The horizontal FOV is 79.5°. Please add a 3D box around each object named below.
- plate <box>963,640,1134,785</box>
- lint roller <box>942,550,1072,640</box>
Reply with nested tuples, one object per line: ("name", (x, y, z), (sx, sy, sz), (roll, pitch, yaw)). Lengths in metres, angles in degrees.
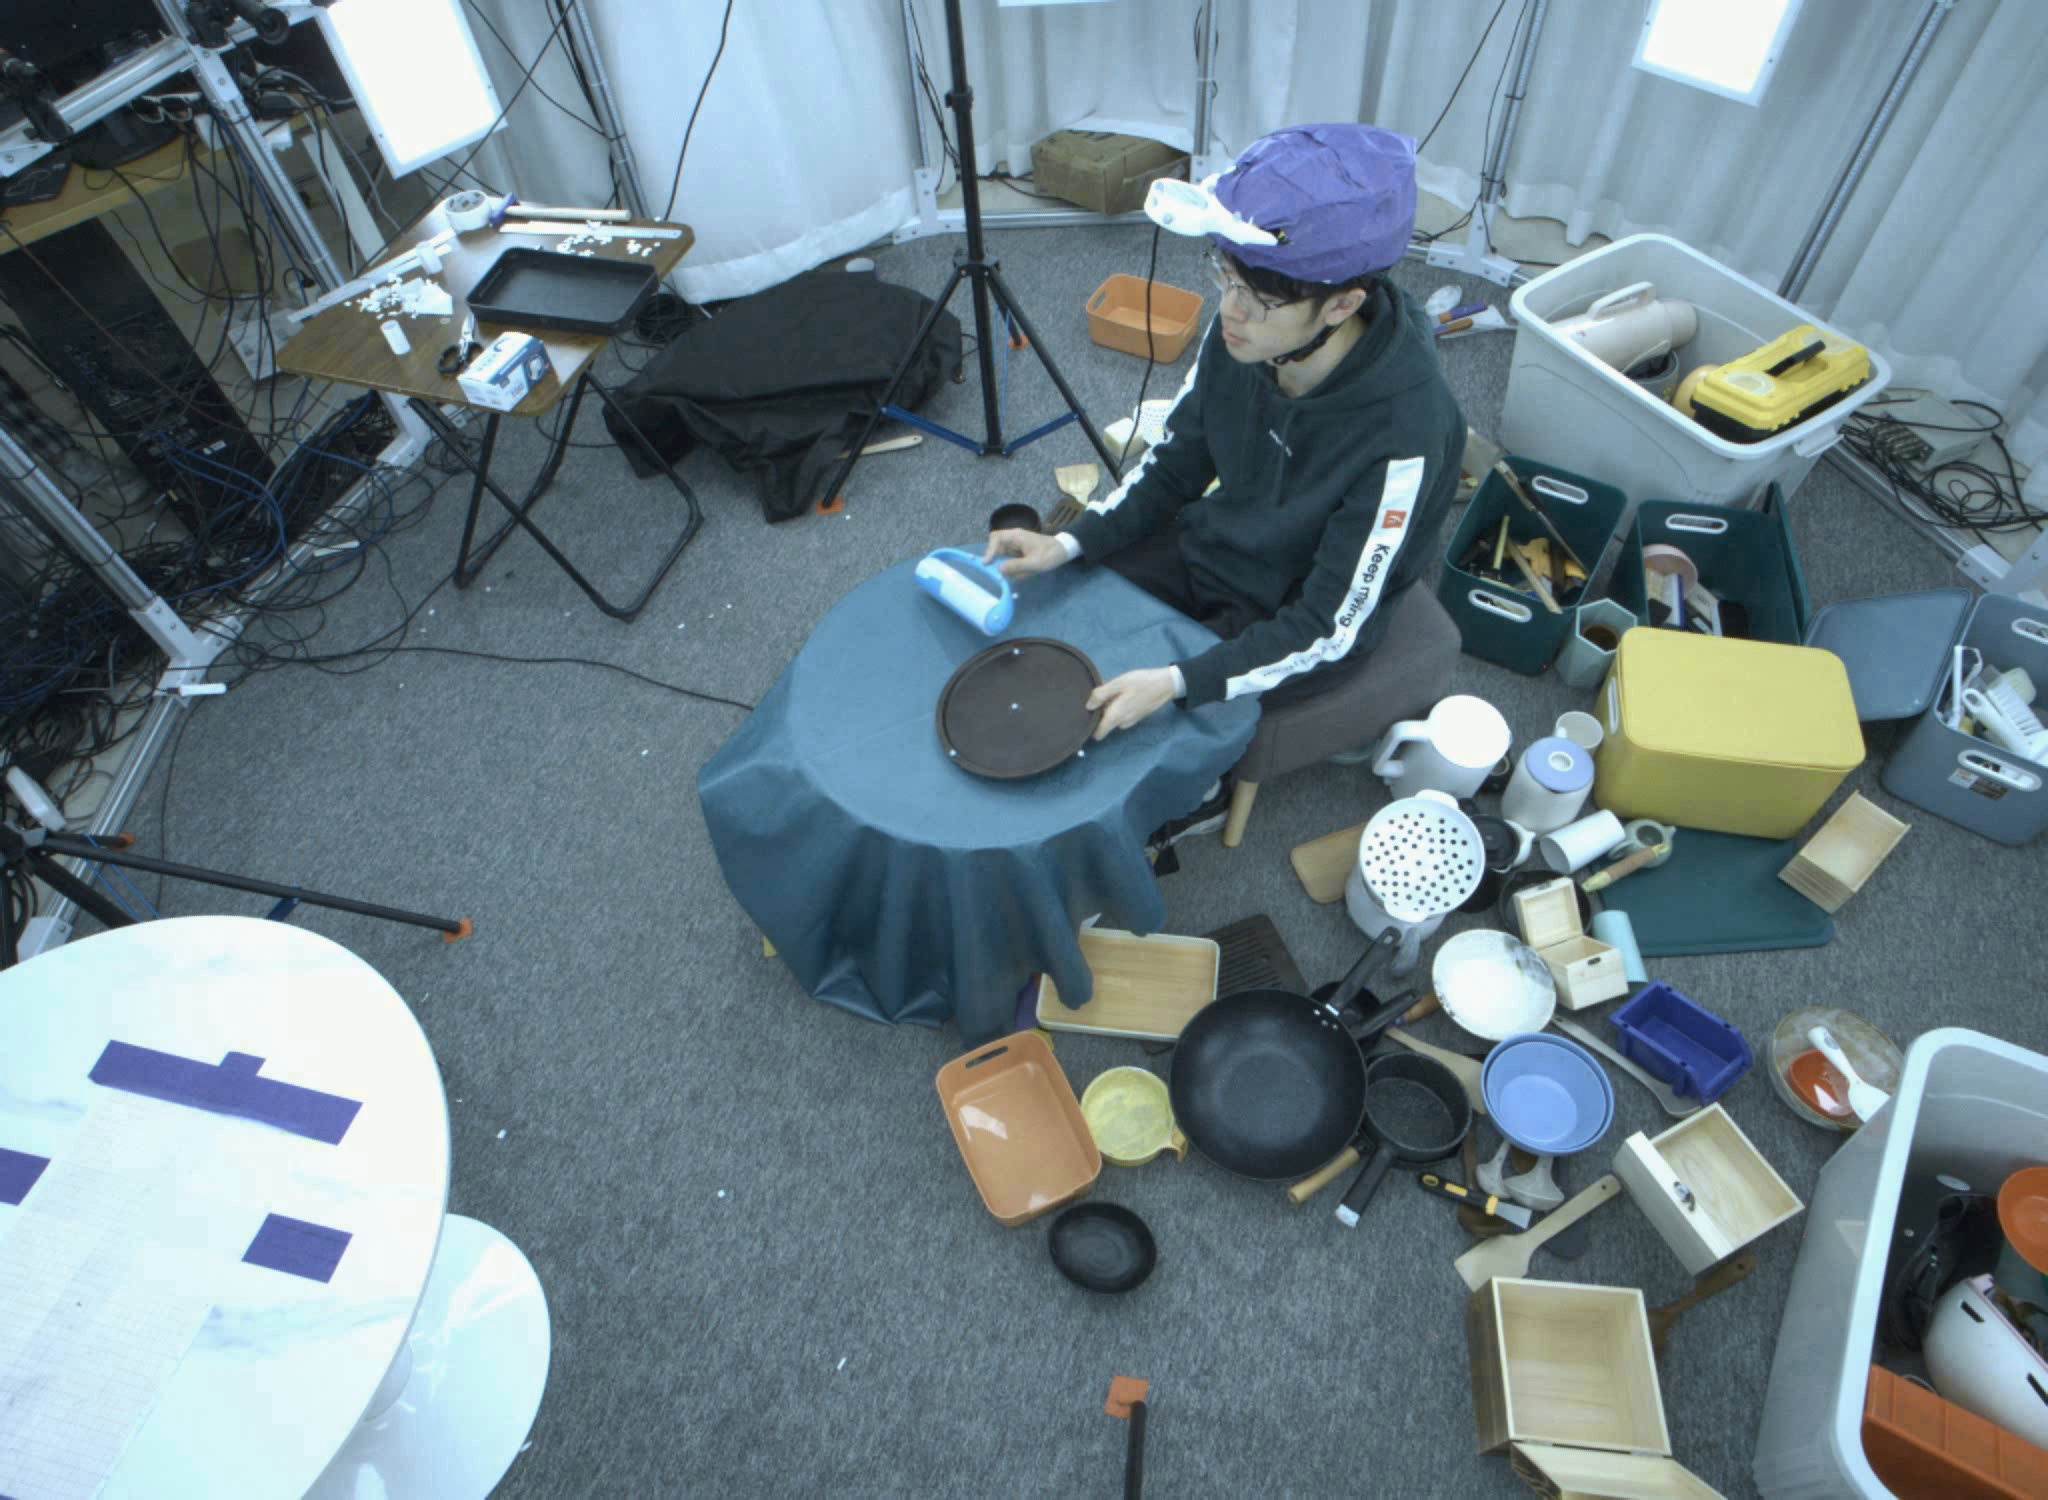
("plate", (0.035, -0.054, 1.784), (0.253, 0.029, 0.252), (-6, 56, 10))
("lint roller", (-0.006, -0.262, 1.902), (0.182, 0.069, 0.223), (-31, 45, -23))
